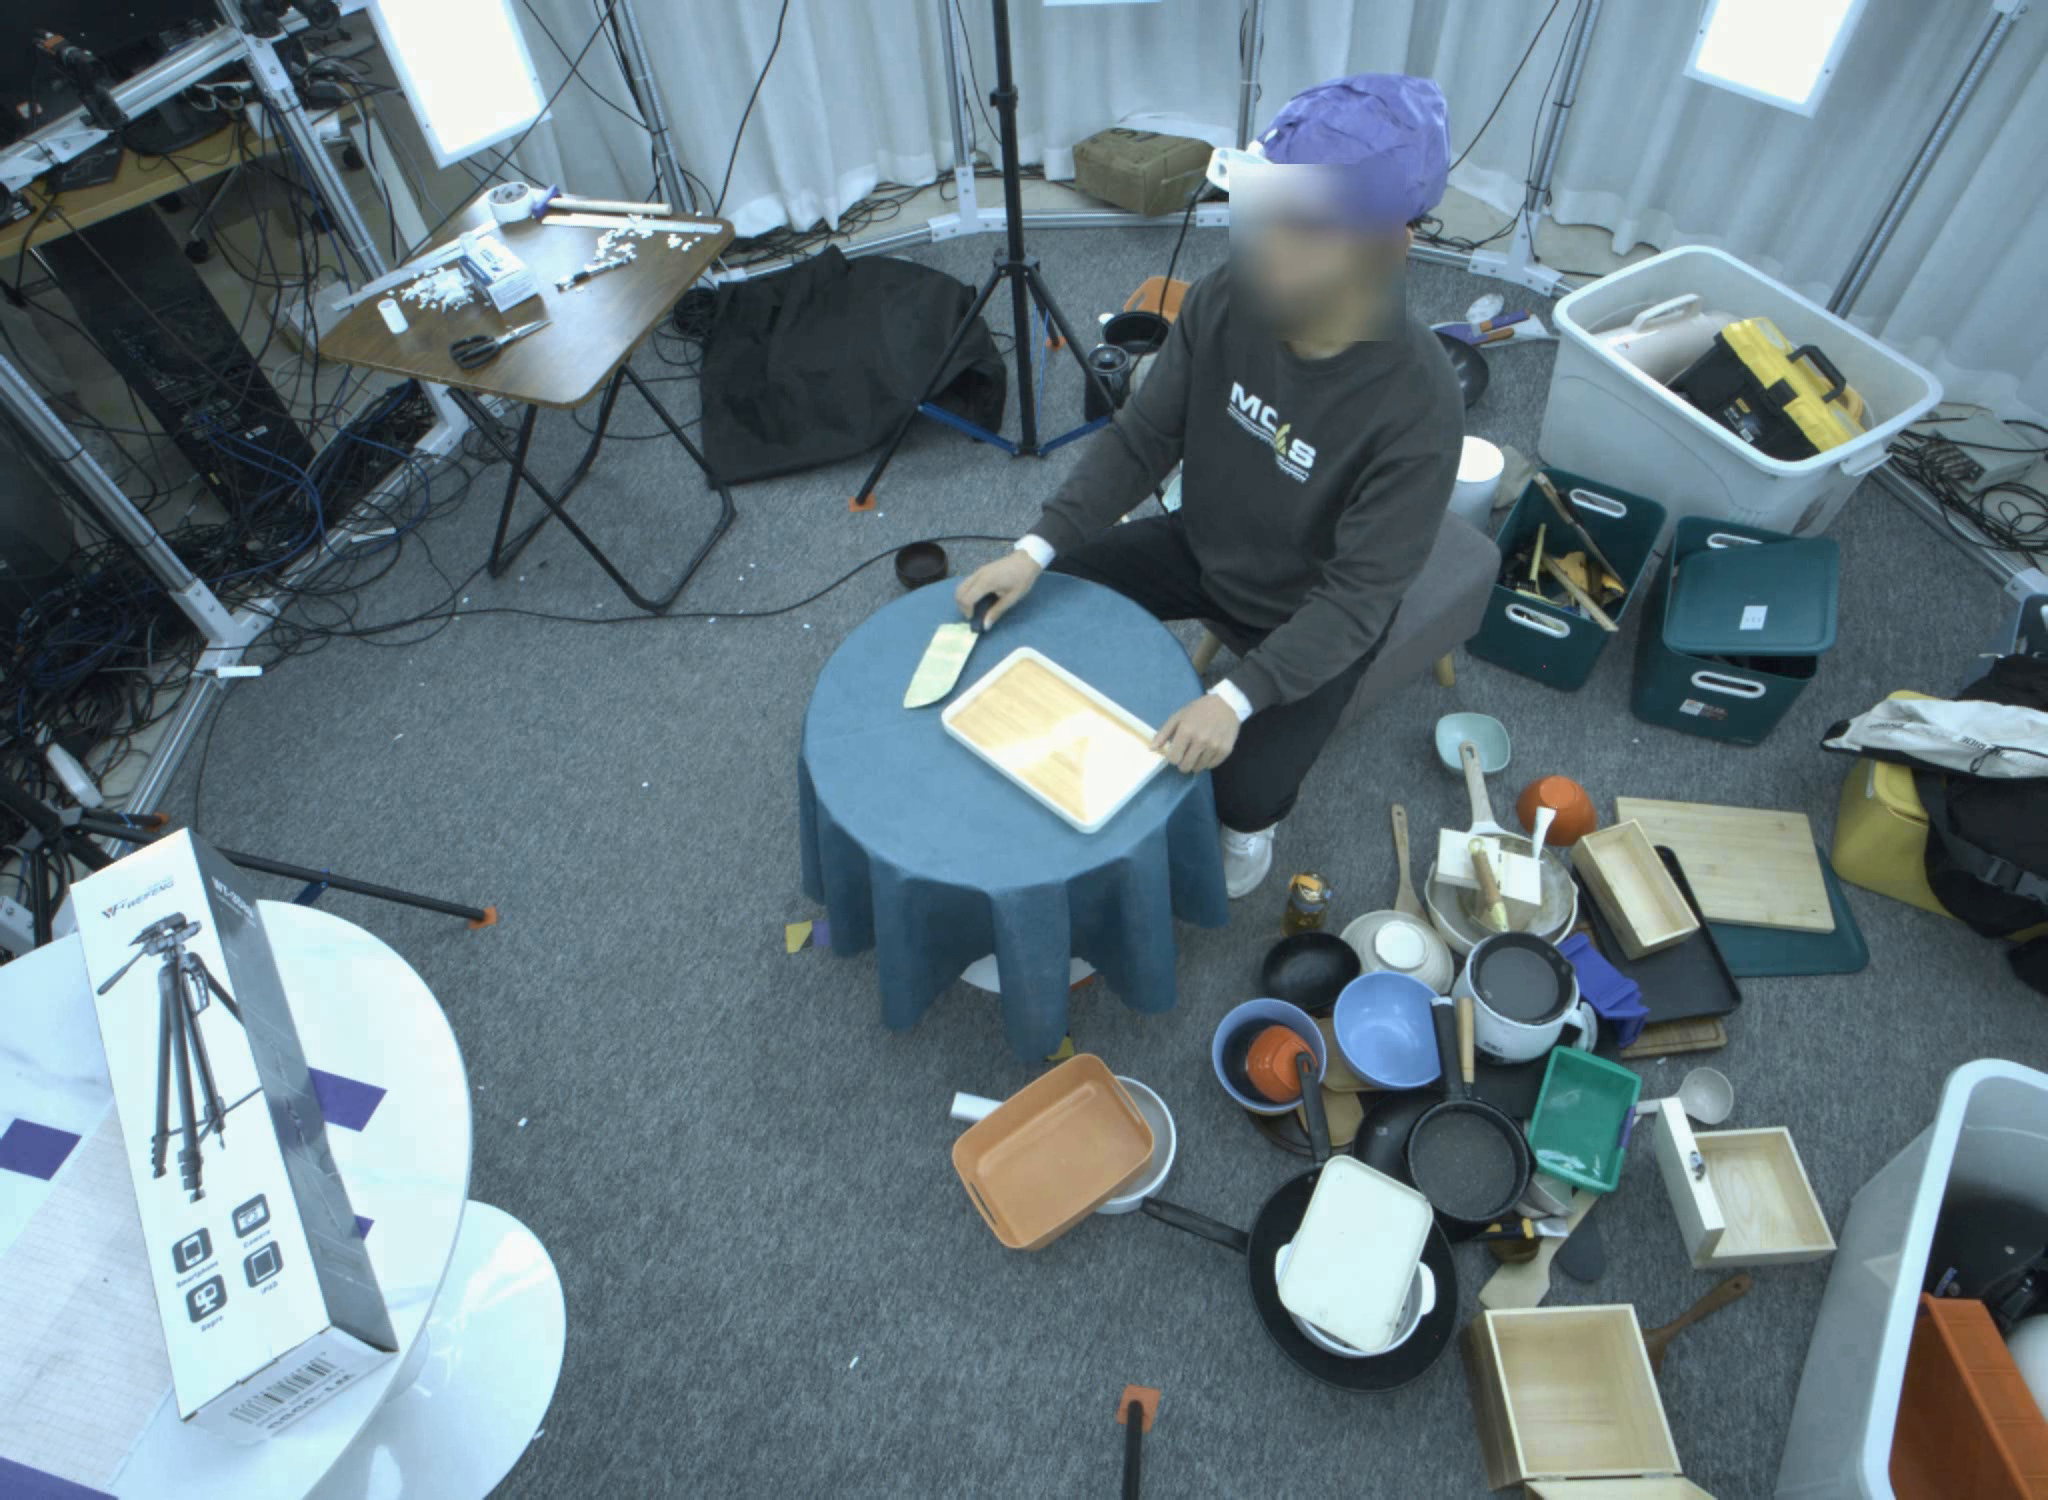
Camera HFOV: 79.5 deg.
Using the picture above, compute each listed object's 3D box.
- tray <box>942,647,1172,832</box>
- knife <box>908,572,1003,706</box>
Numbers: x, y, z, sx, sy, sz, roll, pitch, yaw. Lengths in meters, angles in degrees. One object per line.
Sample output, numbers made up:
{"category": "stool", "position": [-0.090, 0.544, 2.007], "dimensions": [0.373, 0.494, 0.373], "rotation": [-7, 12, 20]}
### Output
{"category": "tray", "position": [0.046, -0.021, 1.793], "dimensions": [0.295, 0.027, 0.193], "rotation": [36, 62, 24]}
{"category": "knife", "position": [-0.105, -0.176, 1.910], "dimensions": [0.080, 0.027, 0.289], "rotation": [13, 56, 22]}
